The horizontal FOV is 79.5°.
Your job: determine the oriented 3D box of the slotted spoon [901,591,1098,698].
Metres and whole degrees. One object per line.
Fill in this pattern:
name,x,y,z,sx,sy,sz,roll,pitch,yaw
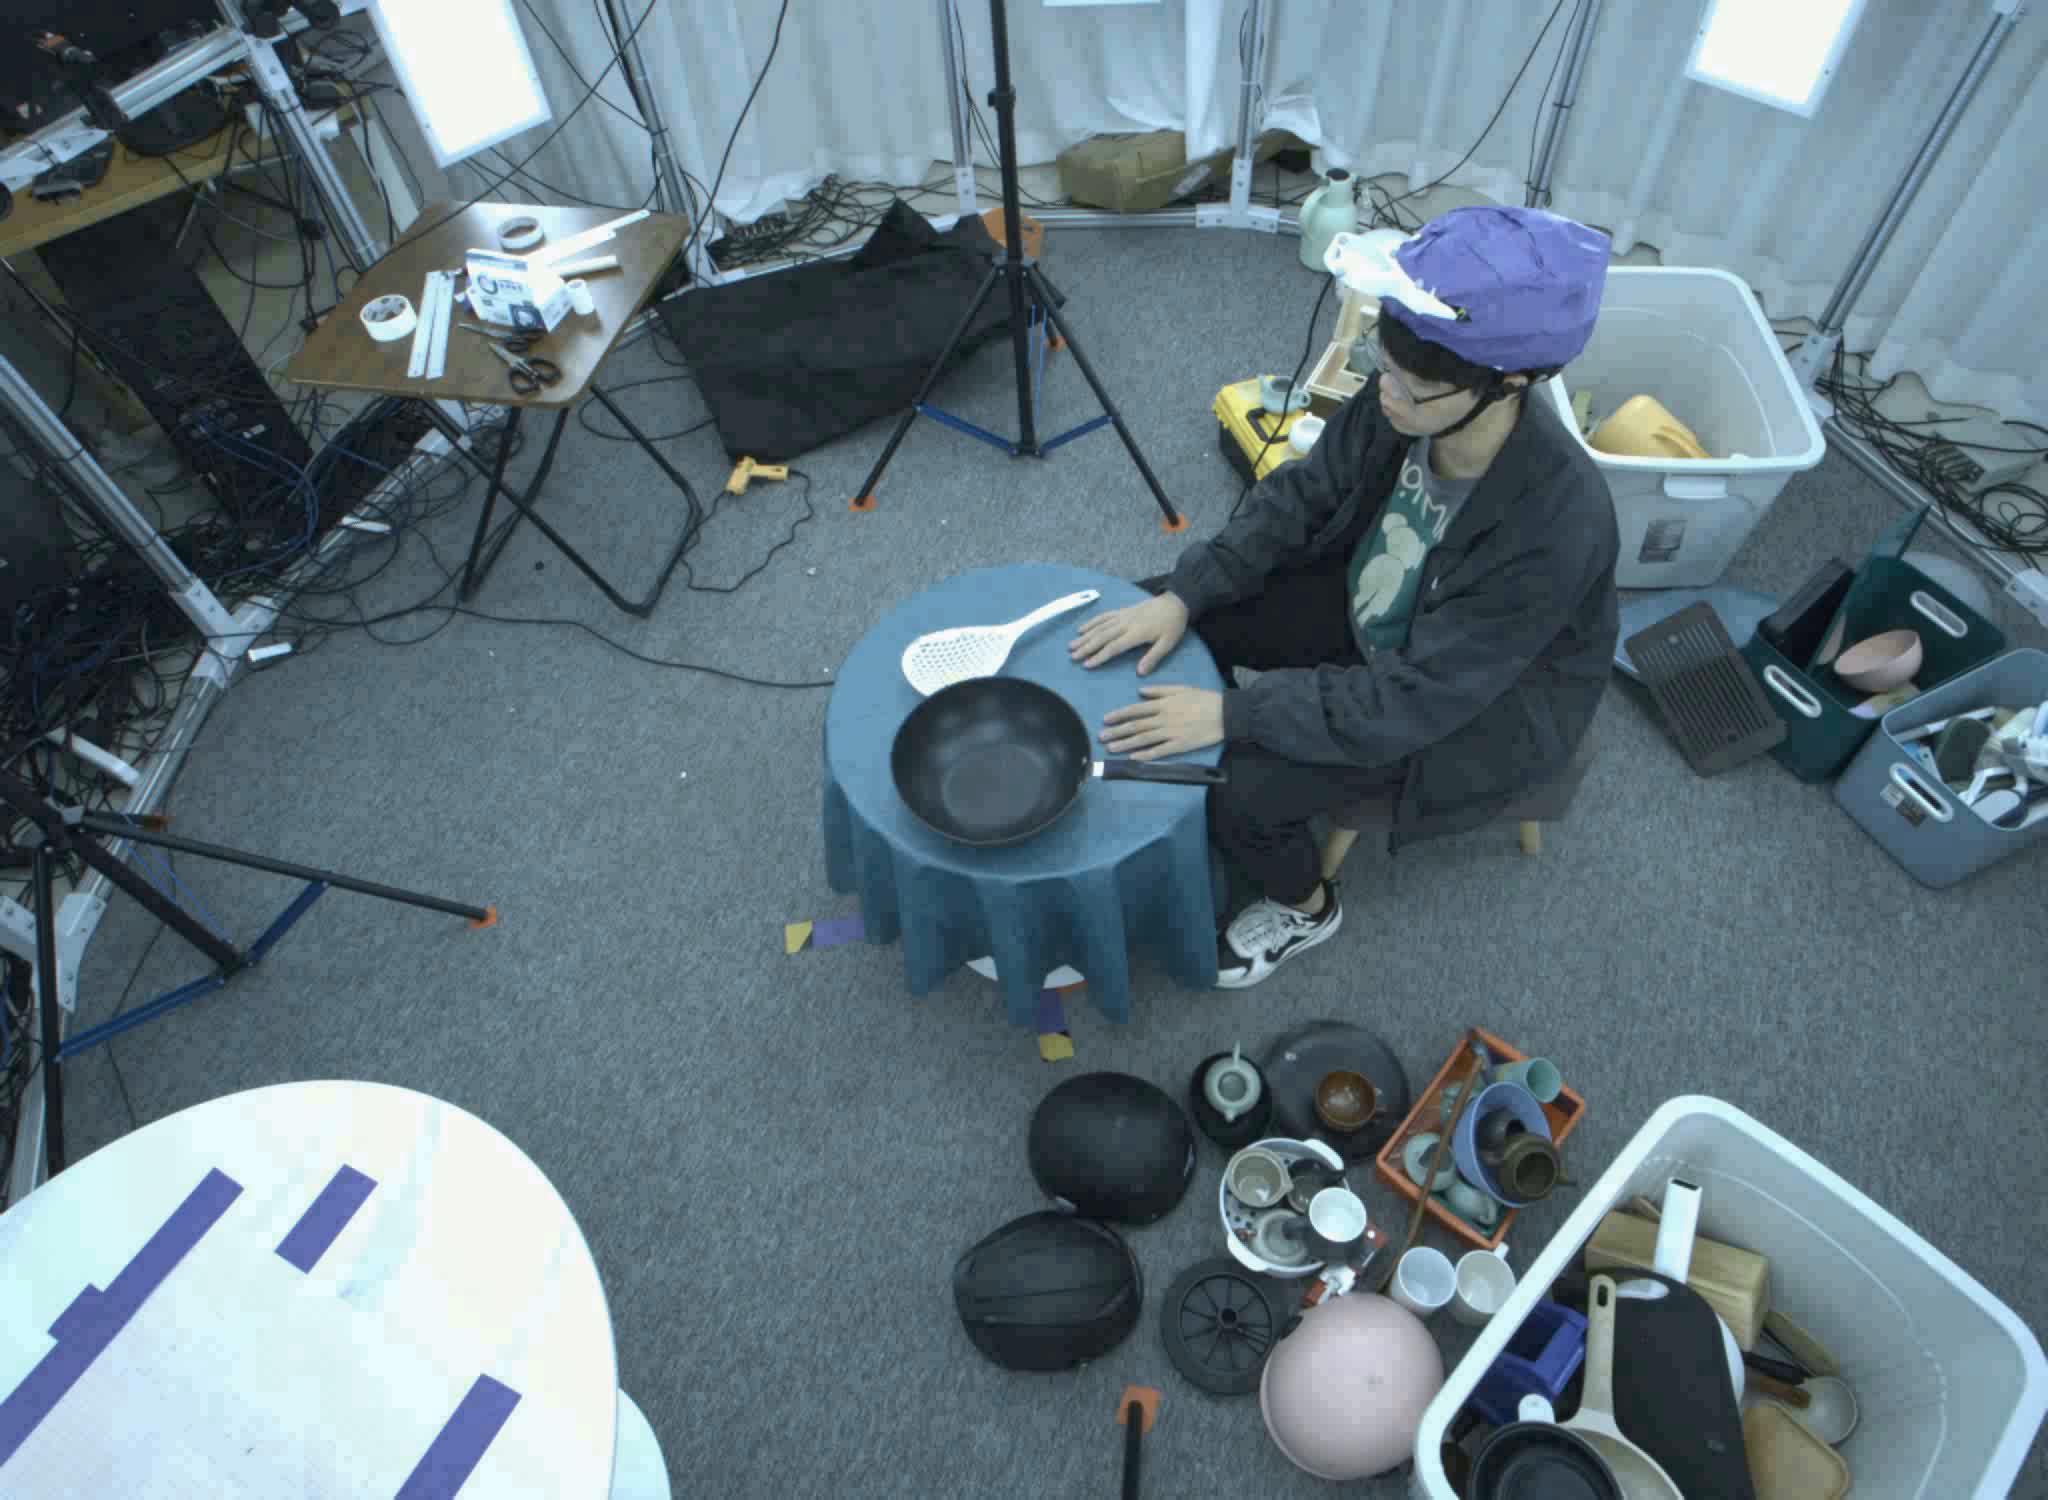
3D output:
slotted spoon,-0.024,-0.172,1.878,0.351,0.051,0.134,-31,57,-19

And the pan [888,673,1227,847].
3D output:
pan,0.045,0.036,1.701,0.462,0.088,0.286,6,55,5
